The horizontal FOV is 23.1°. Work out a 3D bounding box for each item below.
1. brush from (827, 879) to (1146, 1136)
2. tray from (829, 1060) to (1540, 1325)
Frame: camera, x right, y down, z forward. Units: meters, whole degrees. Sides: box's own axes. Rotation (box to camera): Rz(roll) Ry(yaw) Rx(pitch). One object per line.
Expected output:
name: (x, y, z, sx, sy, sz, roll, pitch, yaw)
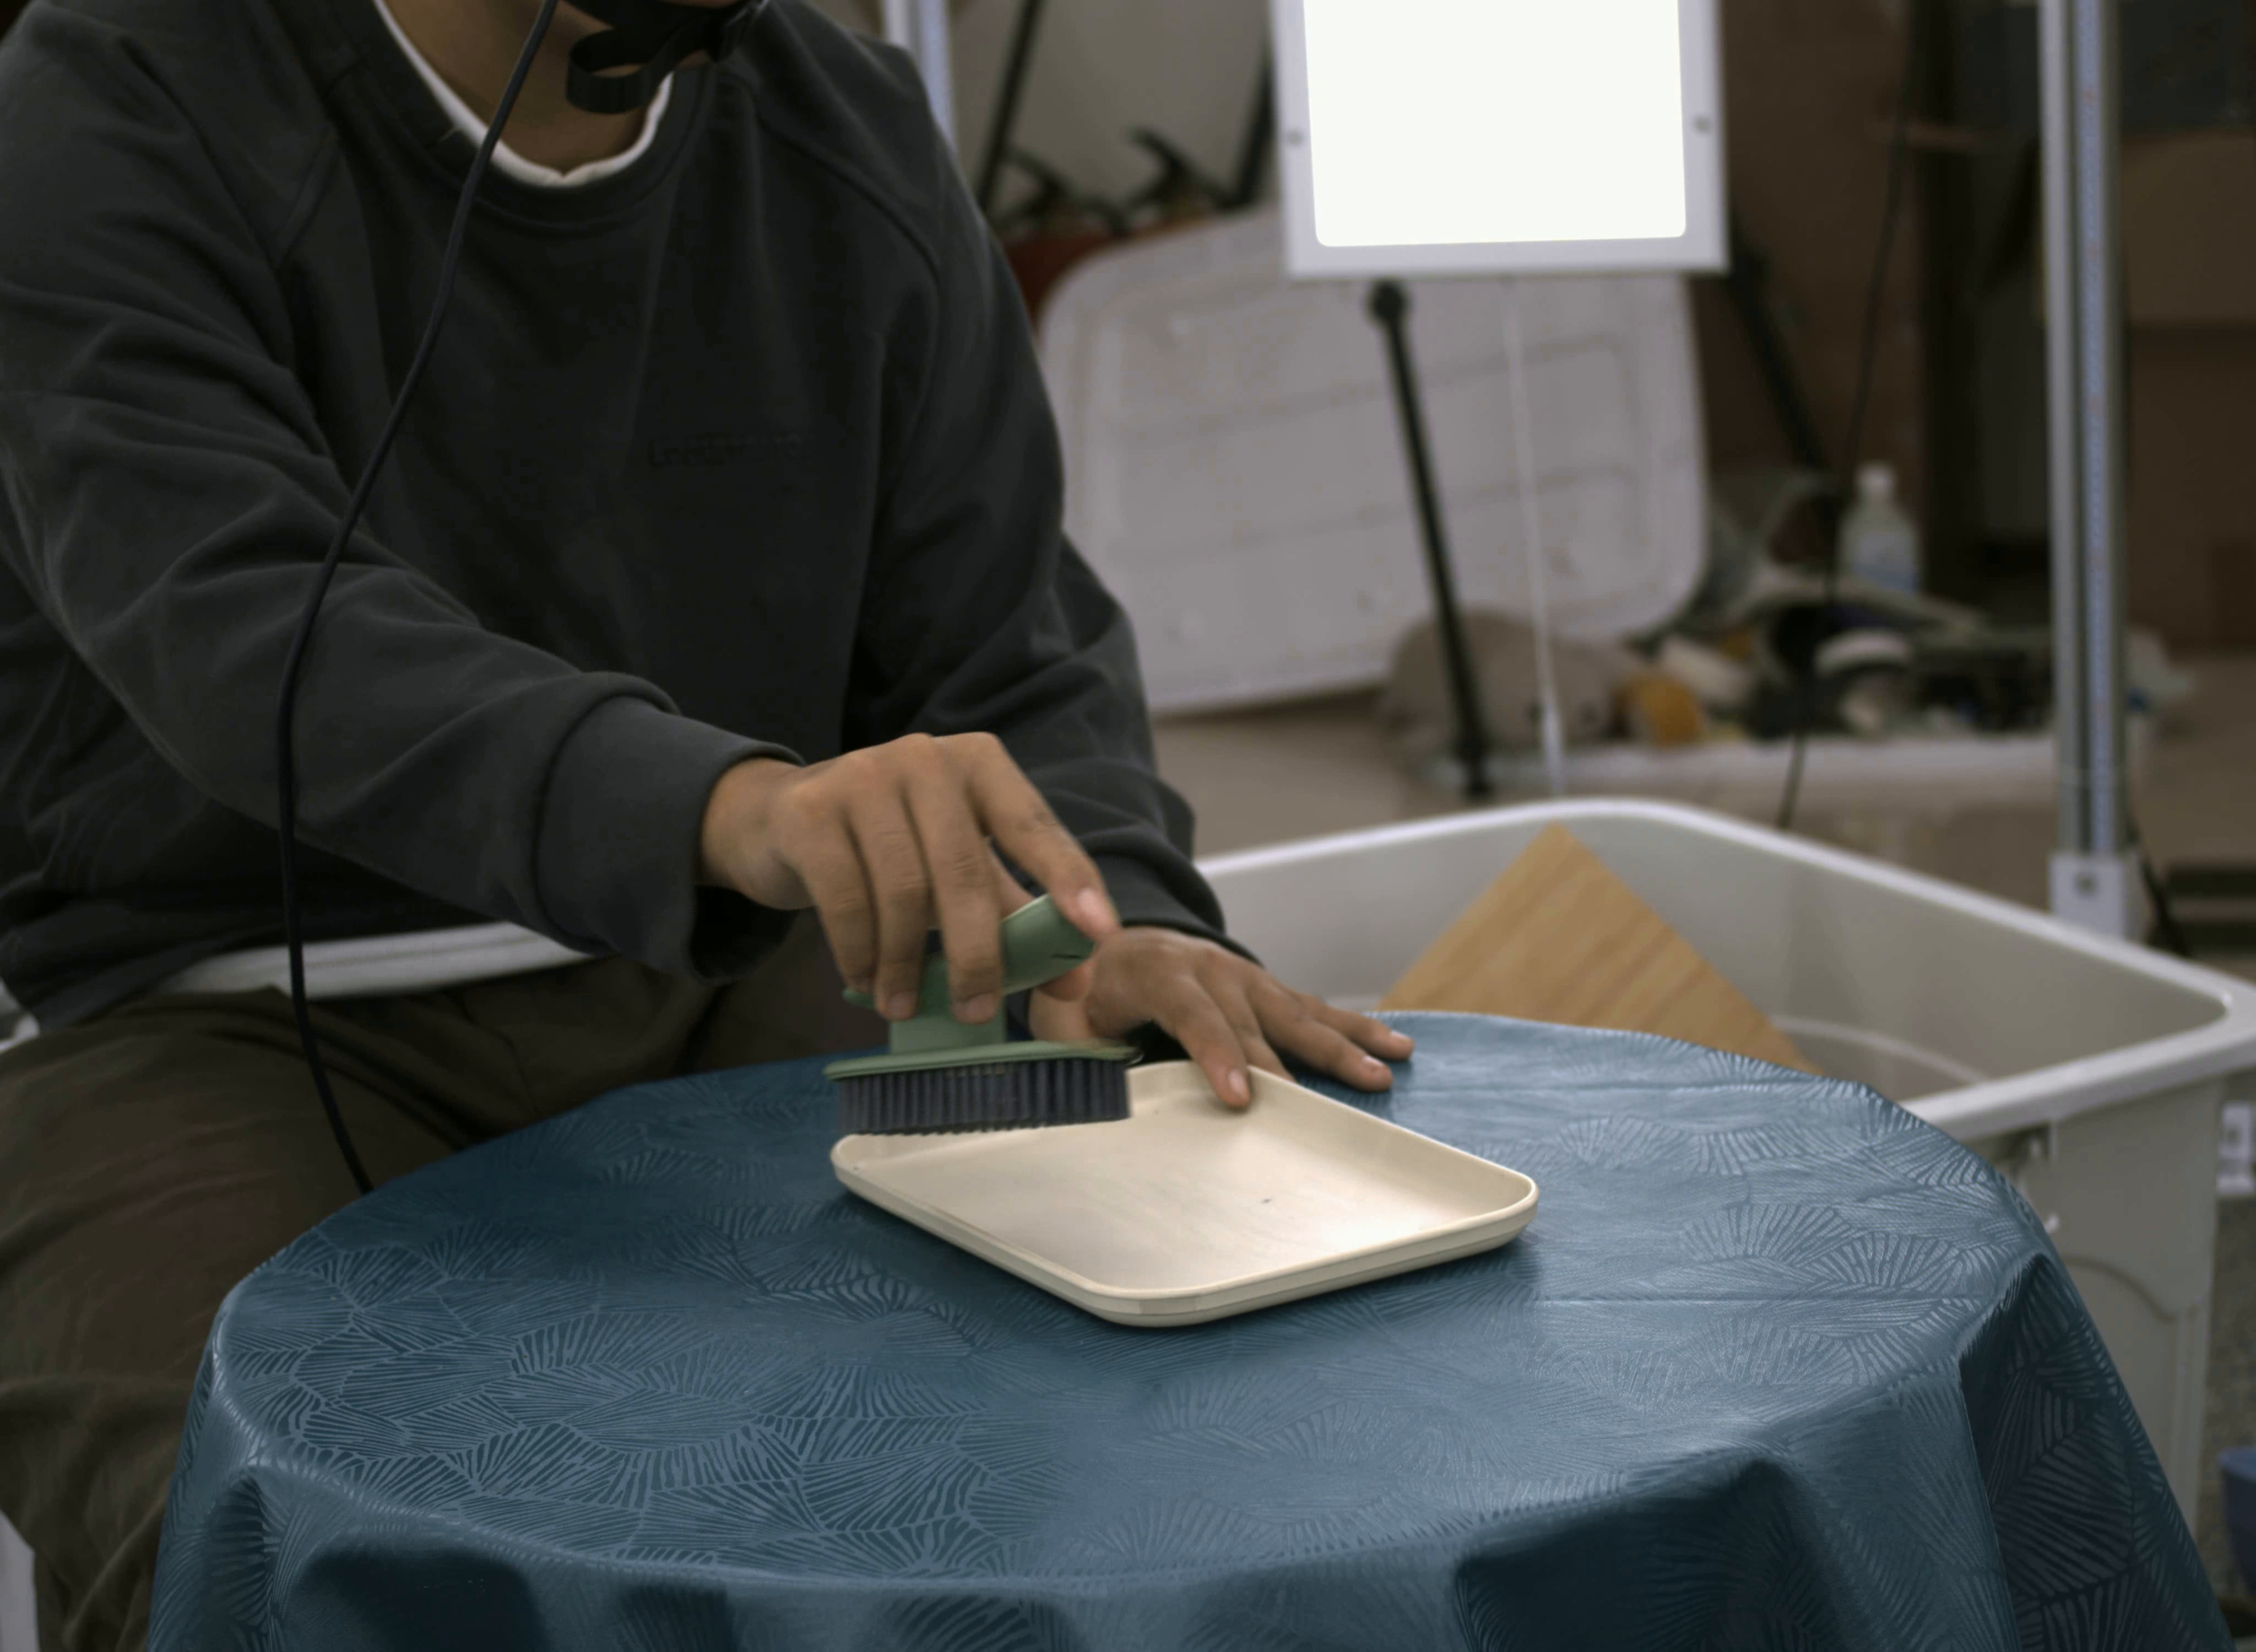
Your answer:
brush: (-0.045, 0.071, 1.796, 0.126, 0.076, 0.058, -24, -22, 40)
tray: (0.017, 0.123, 1.868, 0.167, 0.017, 0.244, -11, 15, -26)
